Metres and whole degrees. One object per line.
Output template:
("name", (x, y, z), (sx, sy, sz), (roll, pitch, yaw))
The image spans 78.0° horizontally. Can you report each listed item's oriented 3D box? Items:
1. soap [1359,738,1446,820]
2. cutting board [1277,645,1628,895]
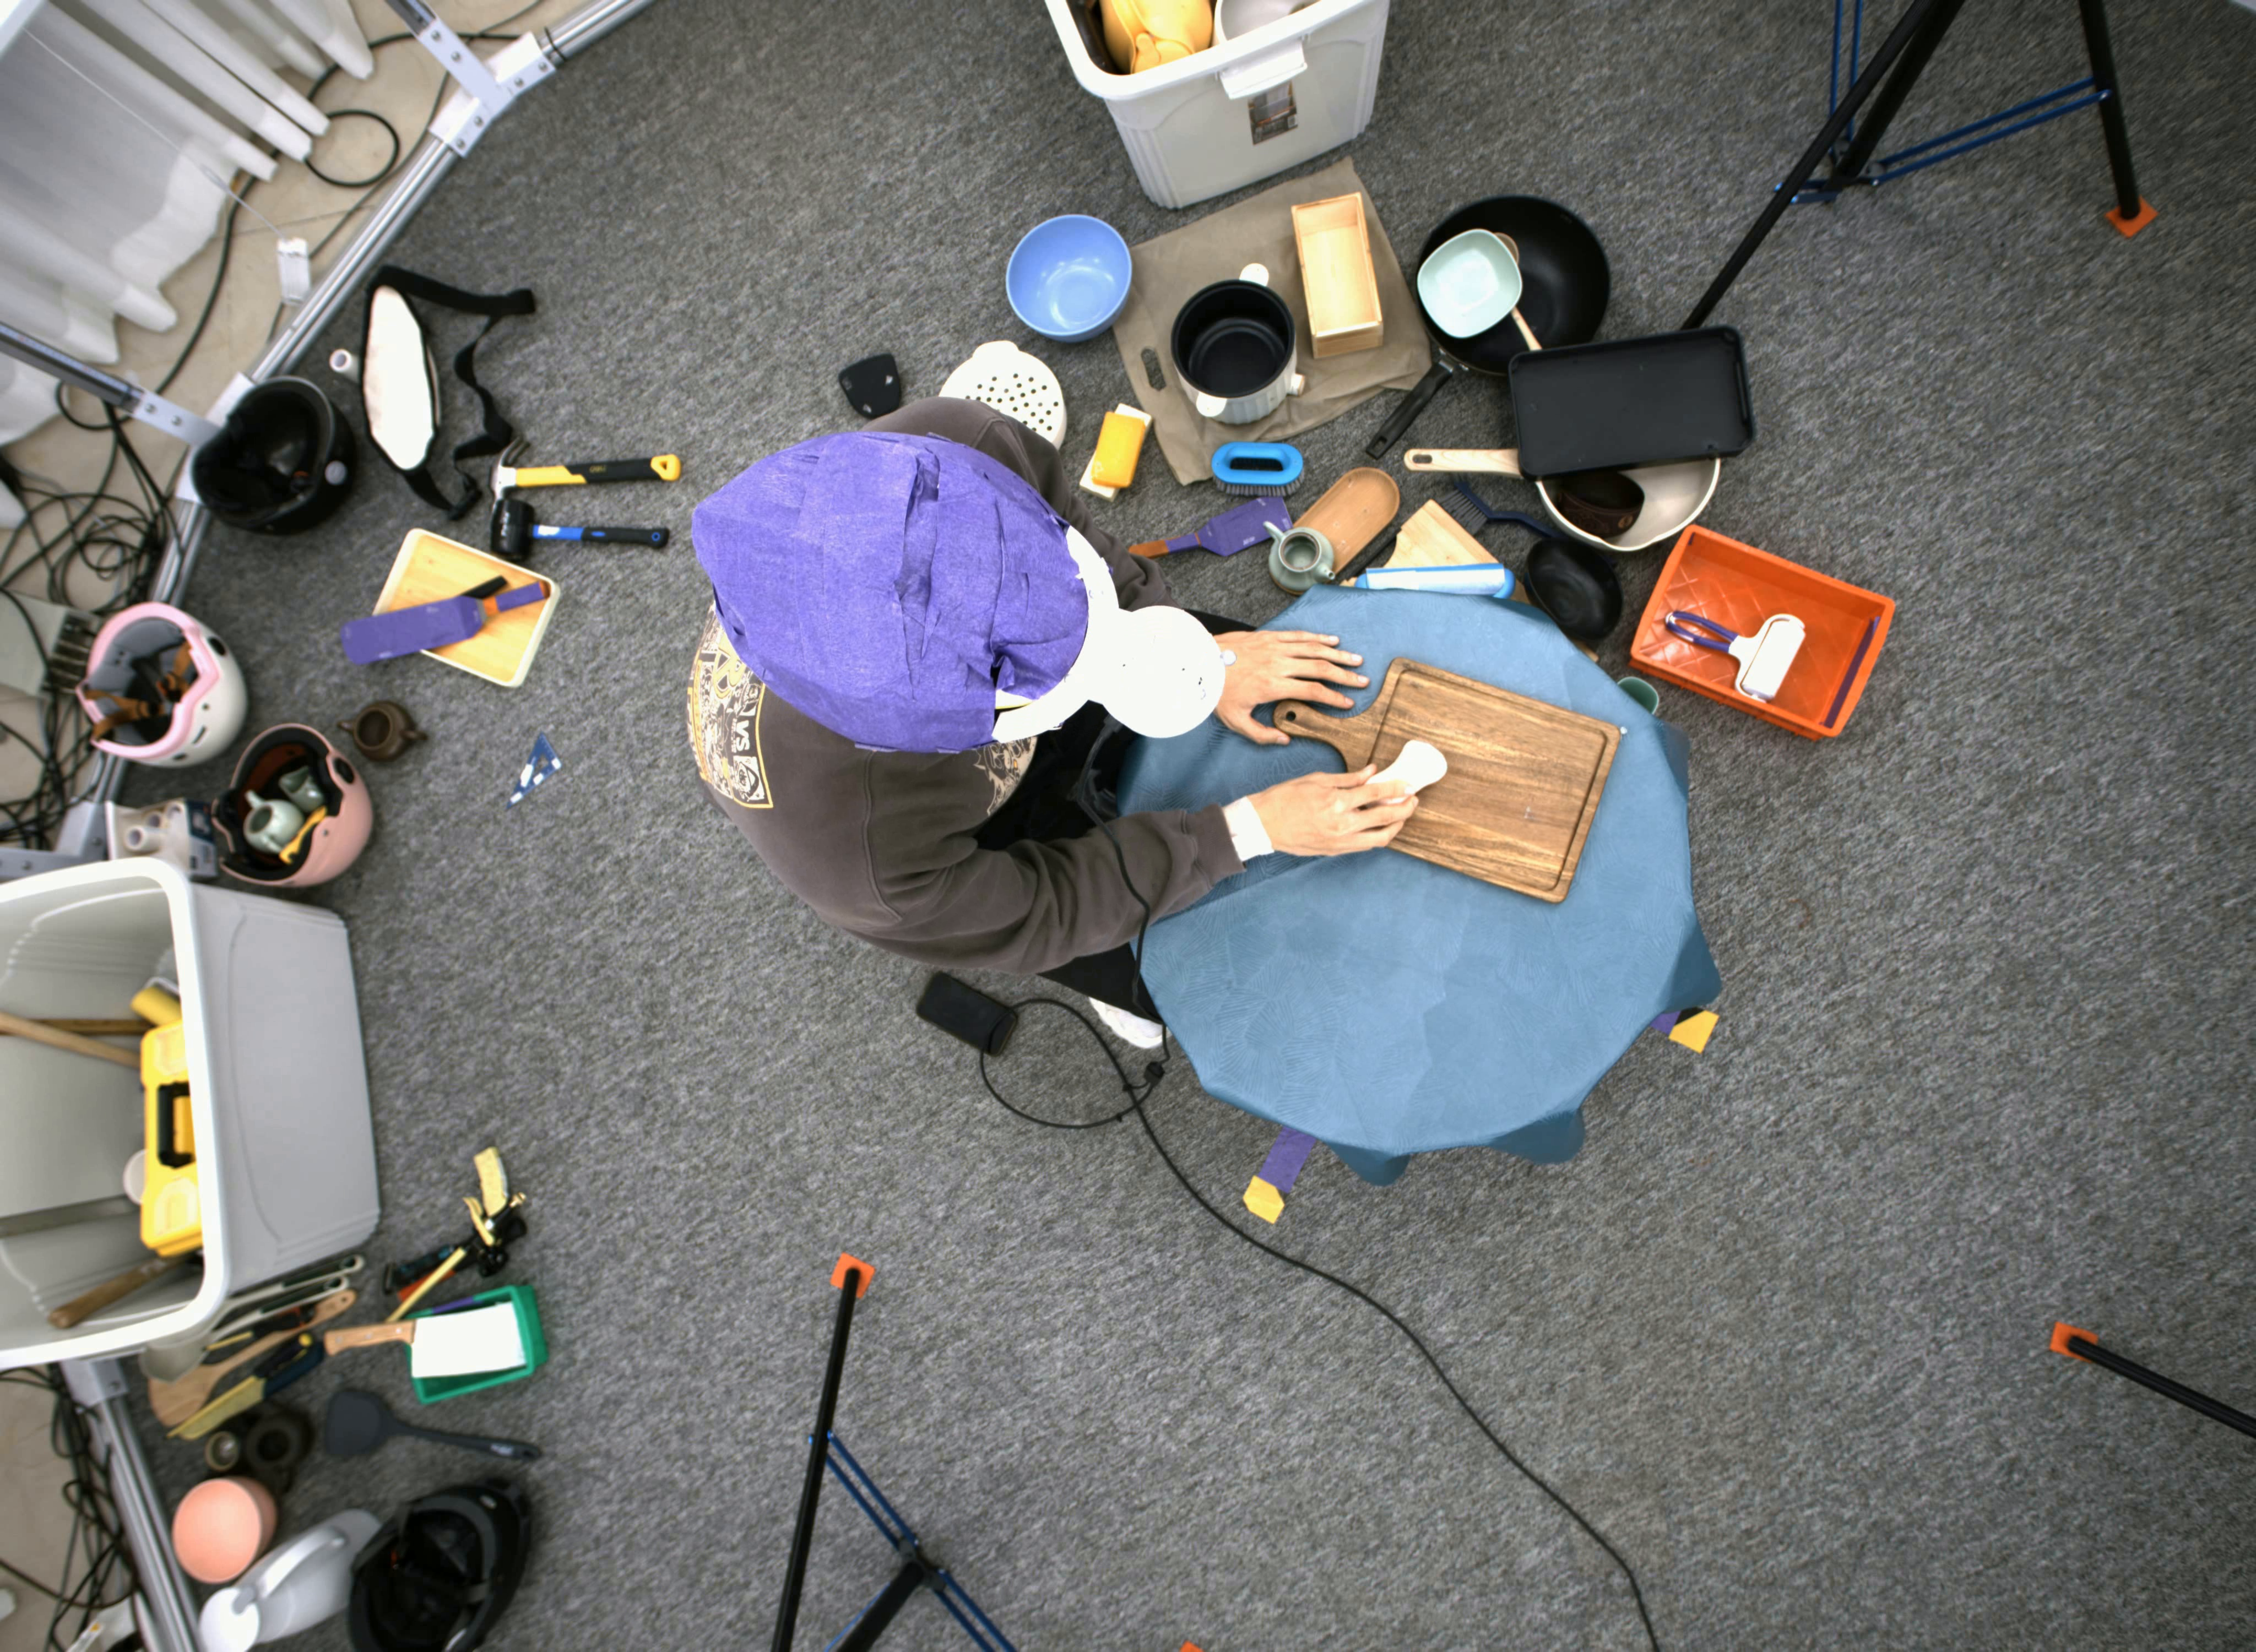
("soap", (0.283, -0.050, 1.419), (0.095, 0.030, 0.050), (-41, 81, 5))
("cutting board", (0.325, -0.079, 1.444), (0.352, 0.023, 0.201), (20, 91, 11))
